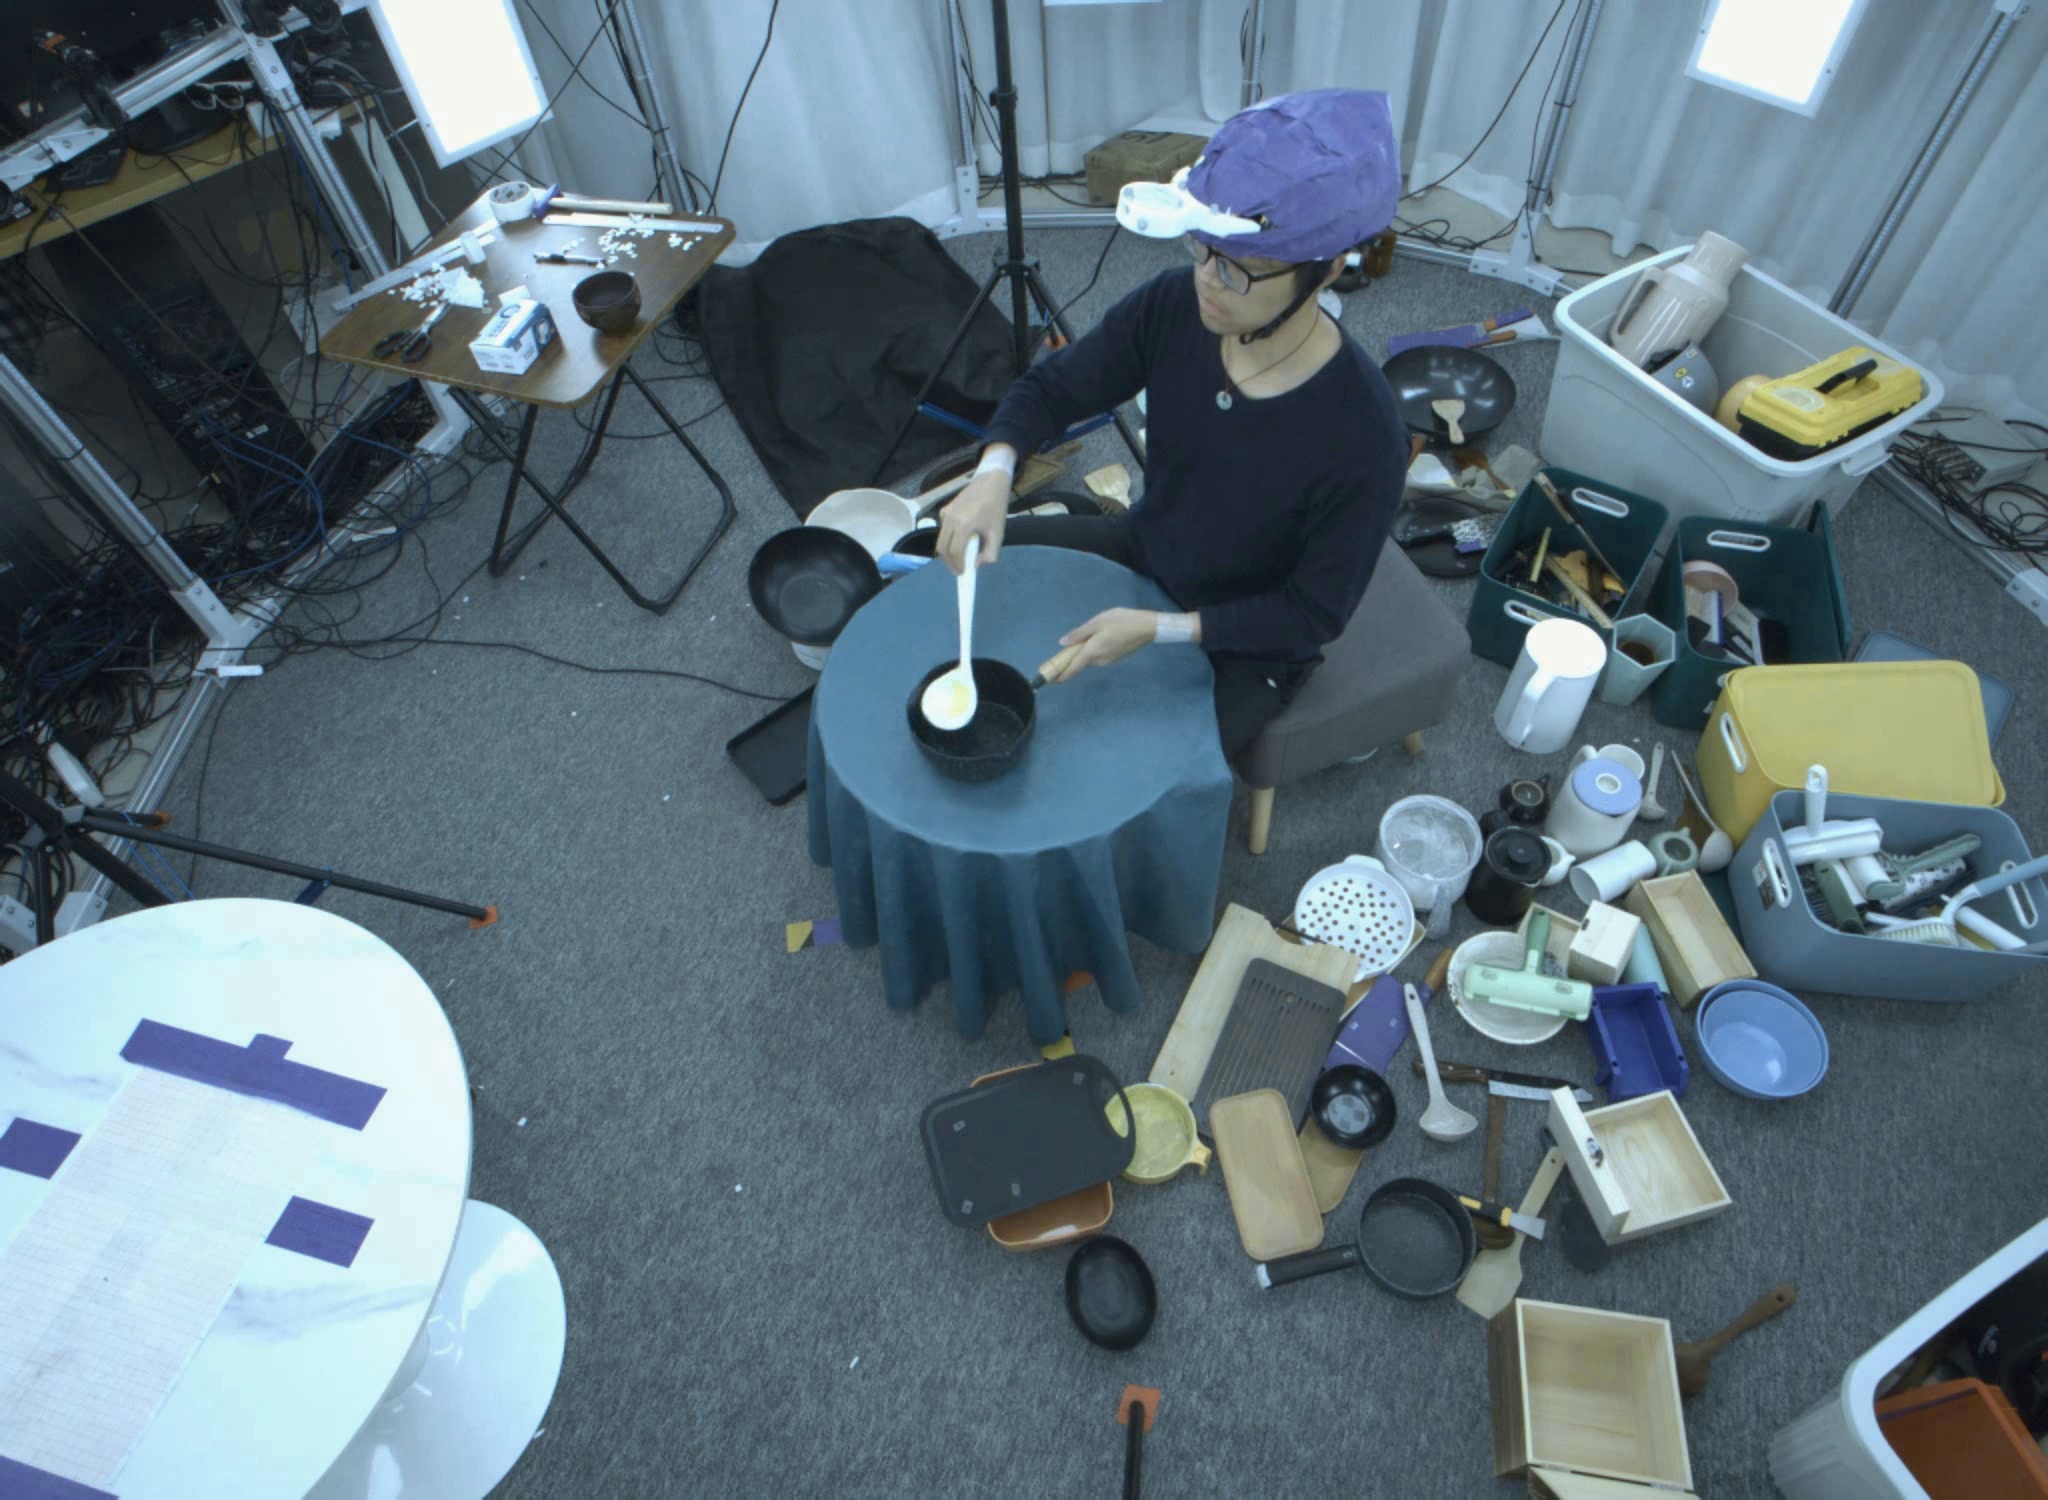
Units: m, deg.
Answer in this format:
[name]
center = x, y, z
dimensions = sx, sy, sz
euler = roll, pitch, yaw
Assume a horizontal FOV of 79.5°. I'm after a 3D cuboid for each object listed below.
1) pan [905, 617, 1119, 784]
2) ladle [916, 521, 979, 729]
[pan]
center = -0.007, -0.082, 1.777
dimensions = 0.345, 0.109, 0.203
euler = -31, 58, -16
[ladle]
center = -0.103, -0.173, 1.712
dimensions = 0.088, 0.295, 0.071
euler = 29, 36, 34
